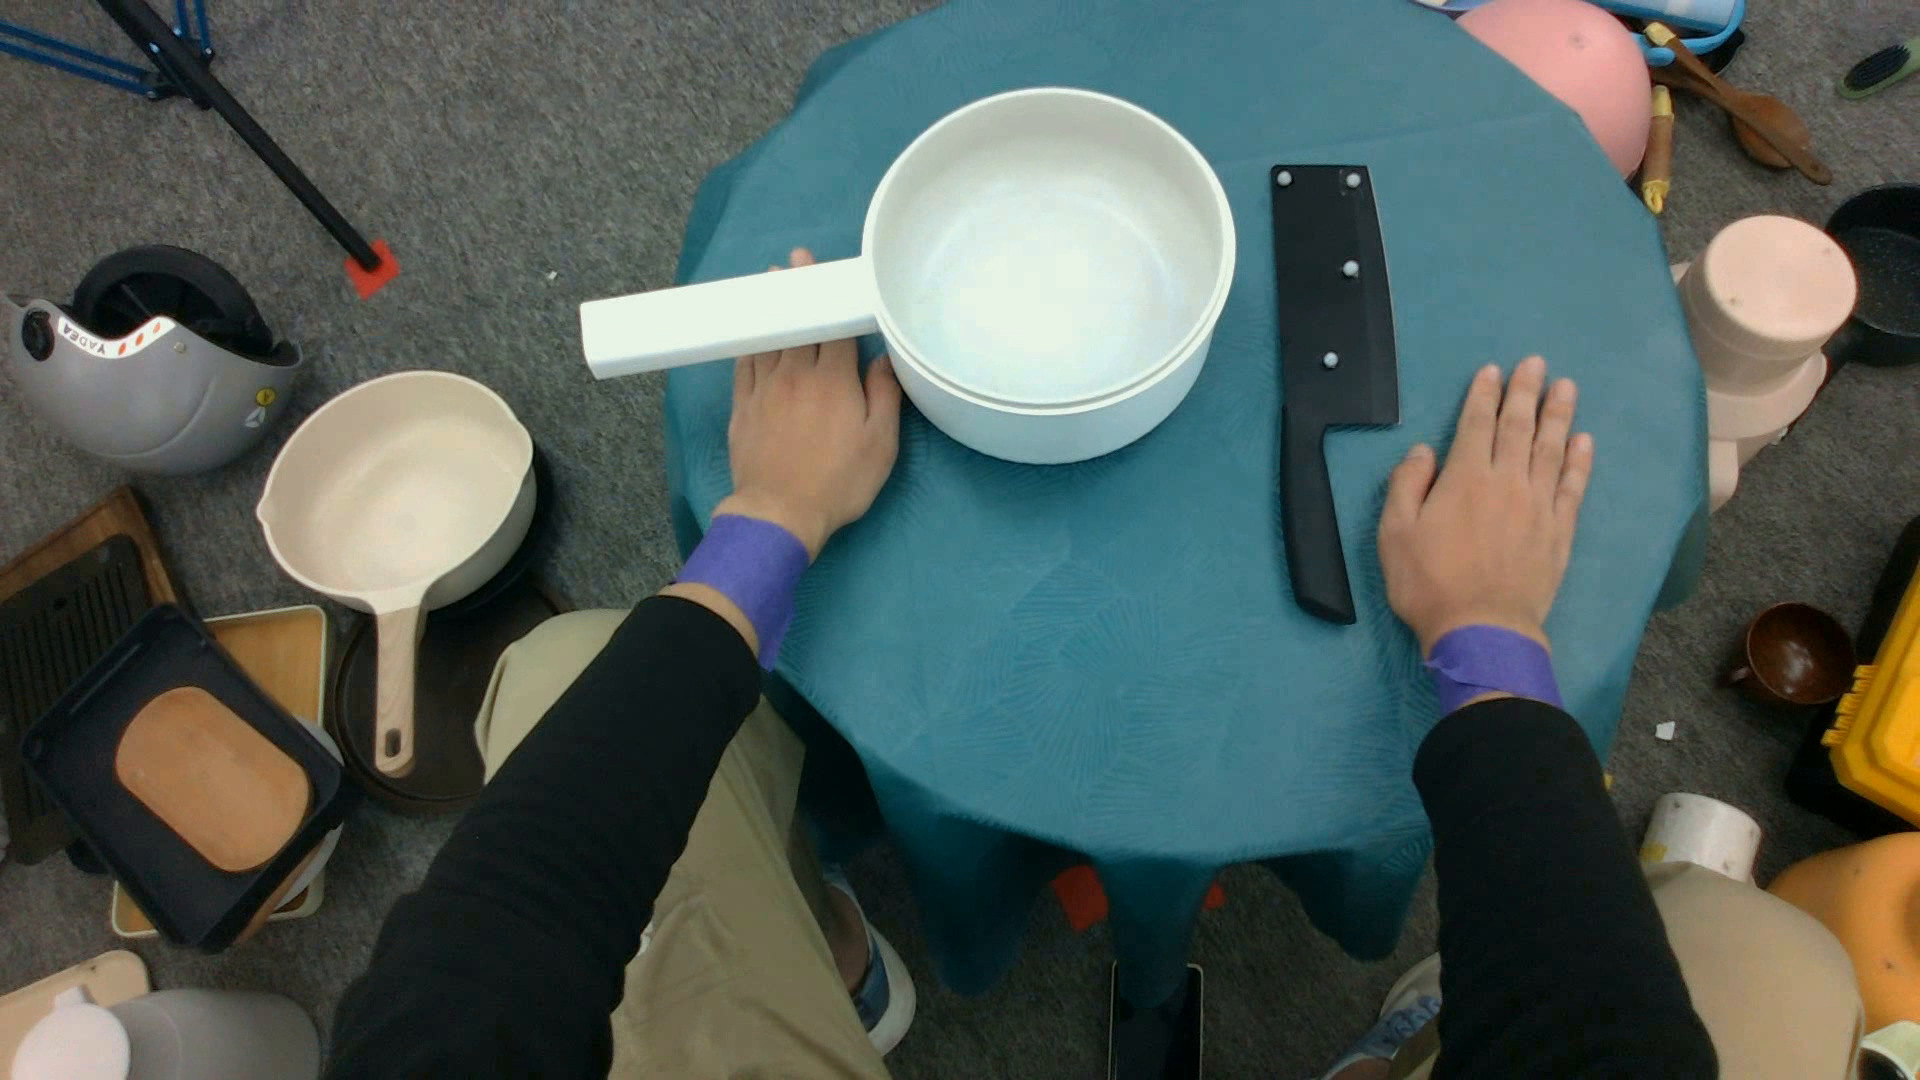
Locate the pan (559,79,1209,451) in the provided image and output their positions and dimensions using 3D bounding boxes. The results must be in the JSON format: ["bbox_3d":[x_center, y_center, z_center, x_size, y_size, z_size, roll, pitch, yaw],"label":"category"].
[{"bbox_3d":[-0.039,-0.137,0.785,0.355,0.102,0.202,-10,70,-1],"label":"pan"}]

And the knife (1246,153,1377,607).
[{"bbox_3d":[0.204,-0.105,0.805,0.081,0.021,0.303,5,67,4],"label":"knife"}]
